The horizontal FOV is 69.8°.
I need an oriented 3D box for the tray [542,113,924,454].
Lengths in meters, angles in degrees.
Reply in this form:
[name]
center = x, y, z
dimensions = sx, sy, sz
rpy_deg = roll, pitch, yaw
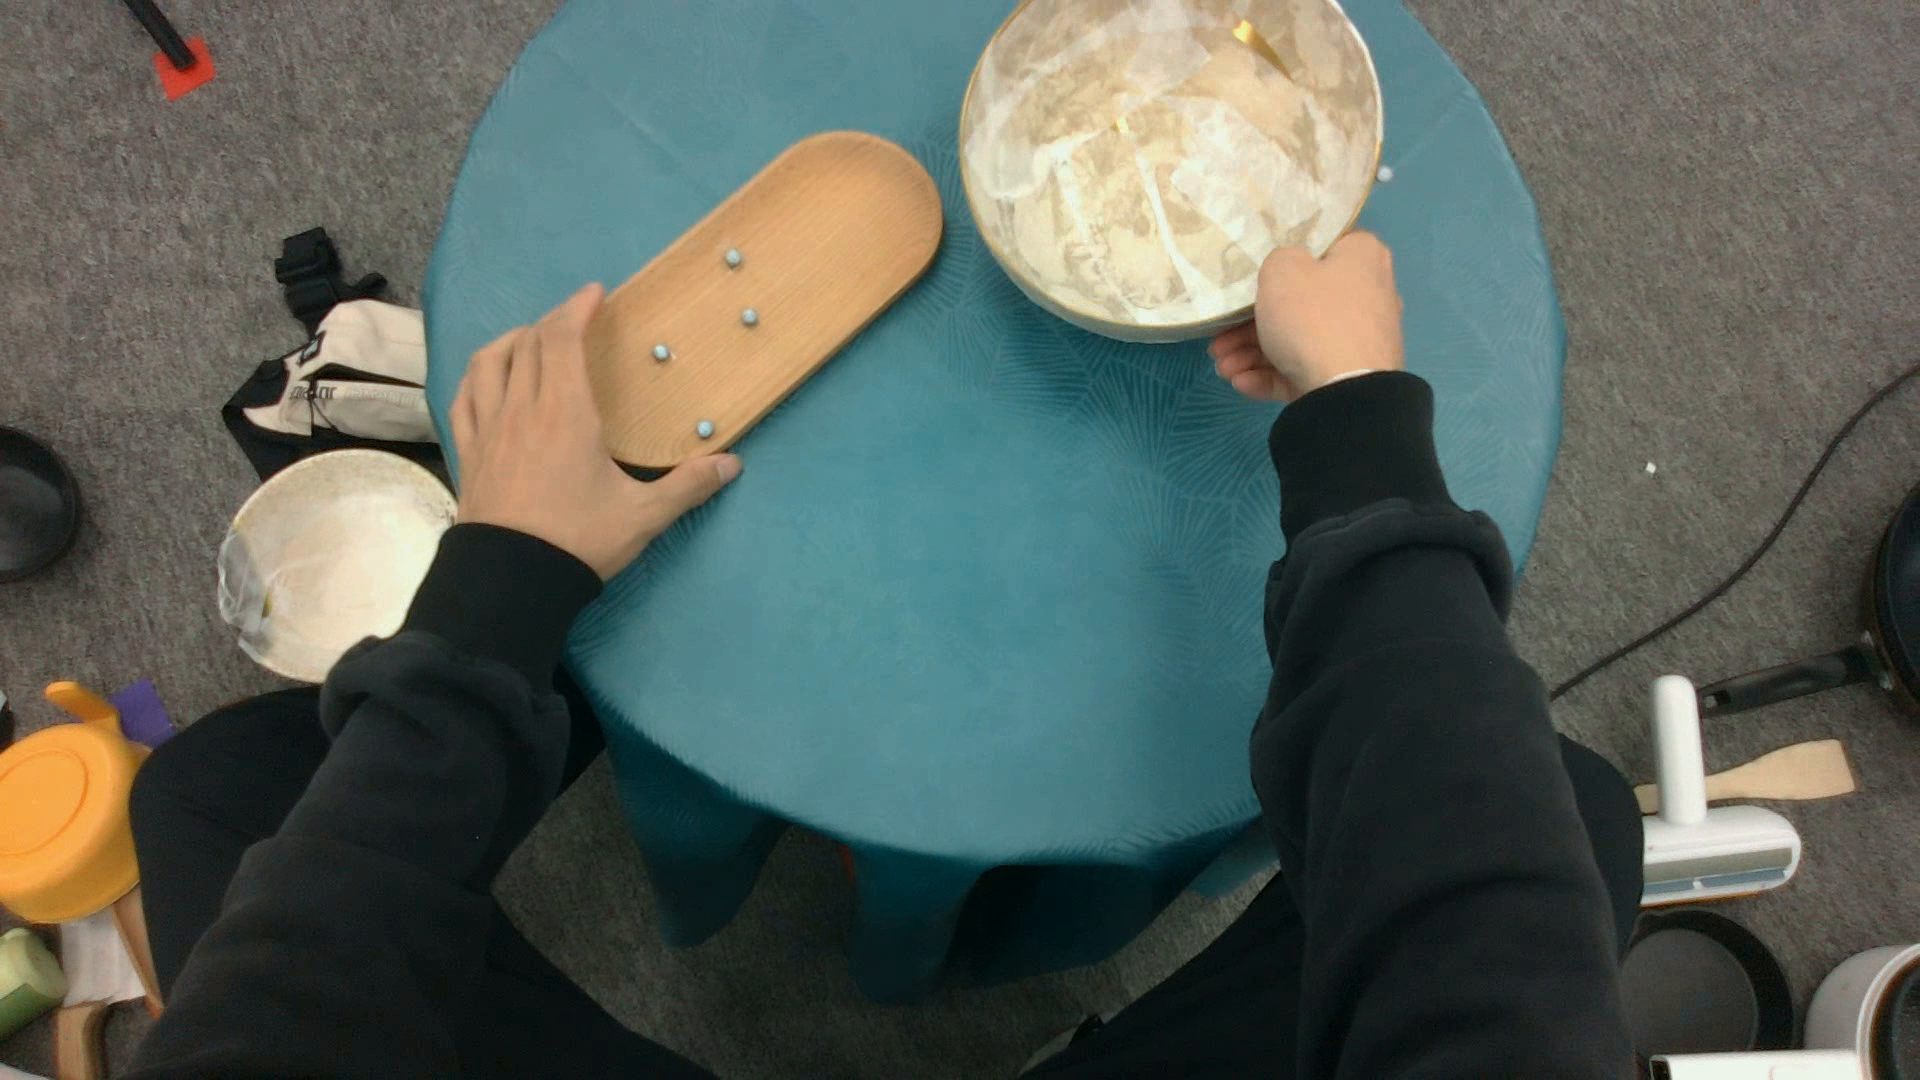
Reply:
[tray]
center = -0.114, -0.135, 0.713
dimensions = 0.102, 0.020, 0.232
rpy_deg = 43, 72, 7

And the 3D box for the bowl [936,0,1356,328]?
[bowl]
center = 0.089, -0.195, 0.704
dimensions = 0.214, 0.094, 0.215
rpy_deg = -1, 79, 5
